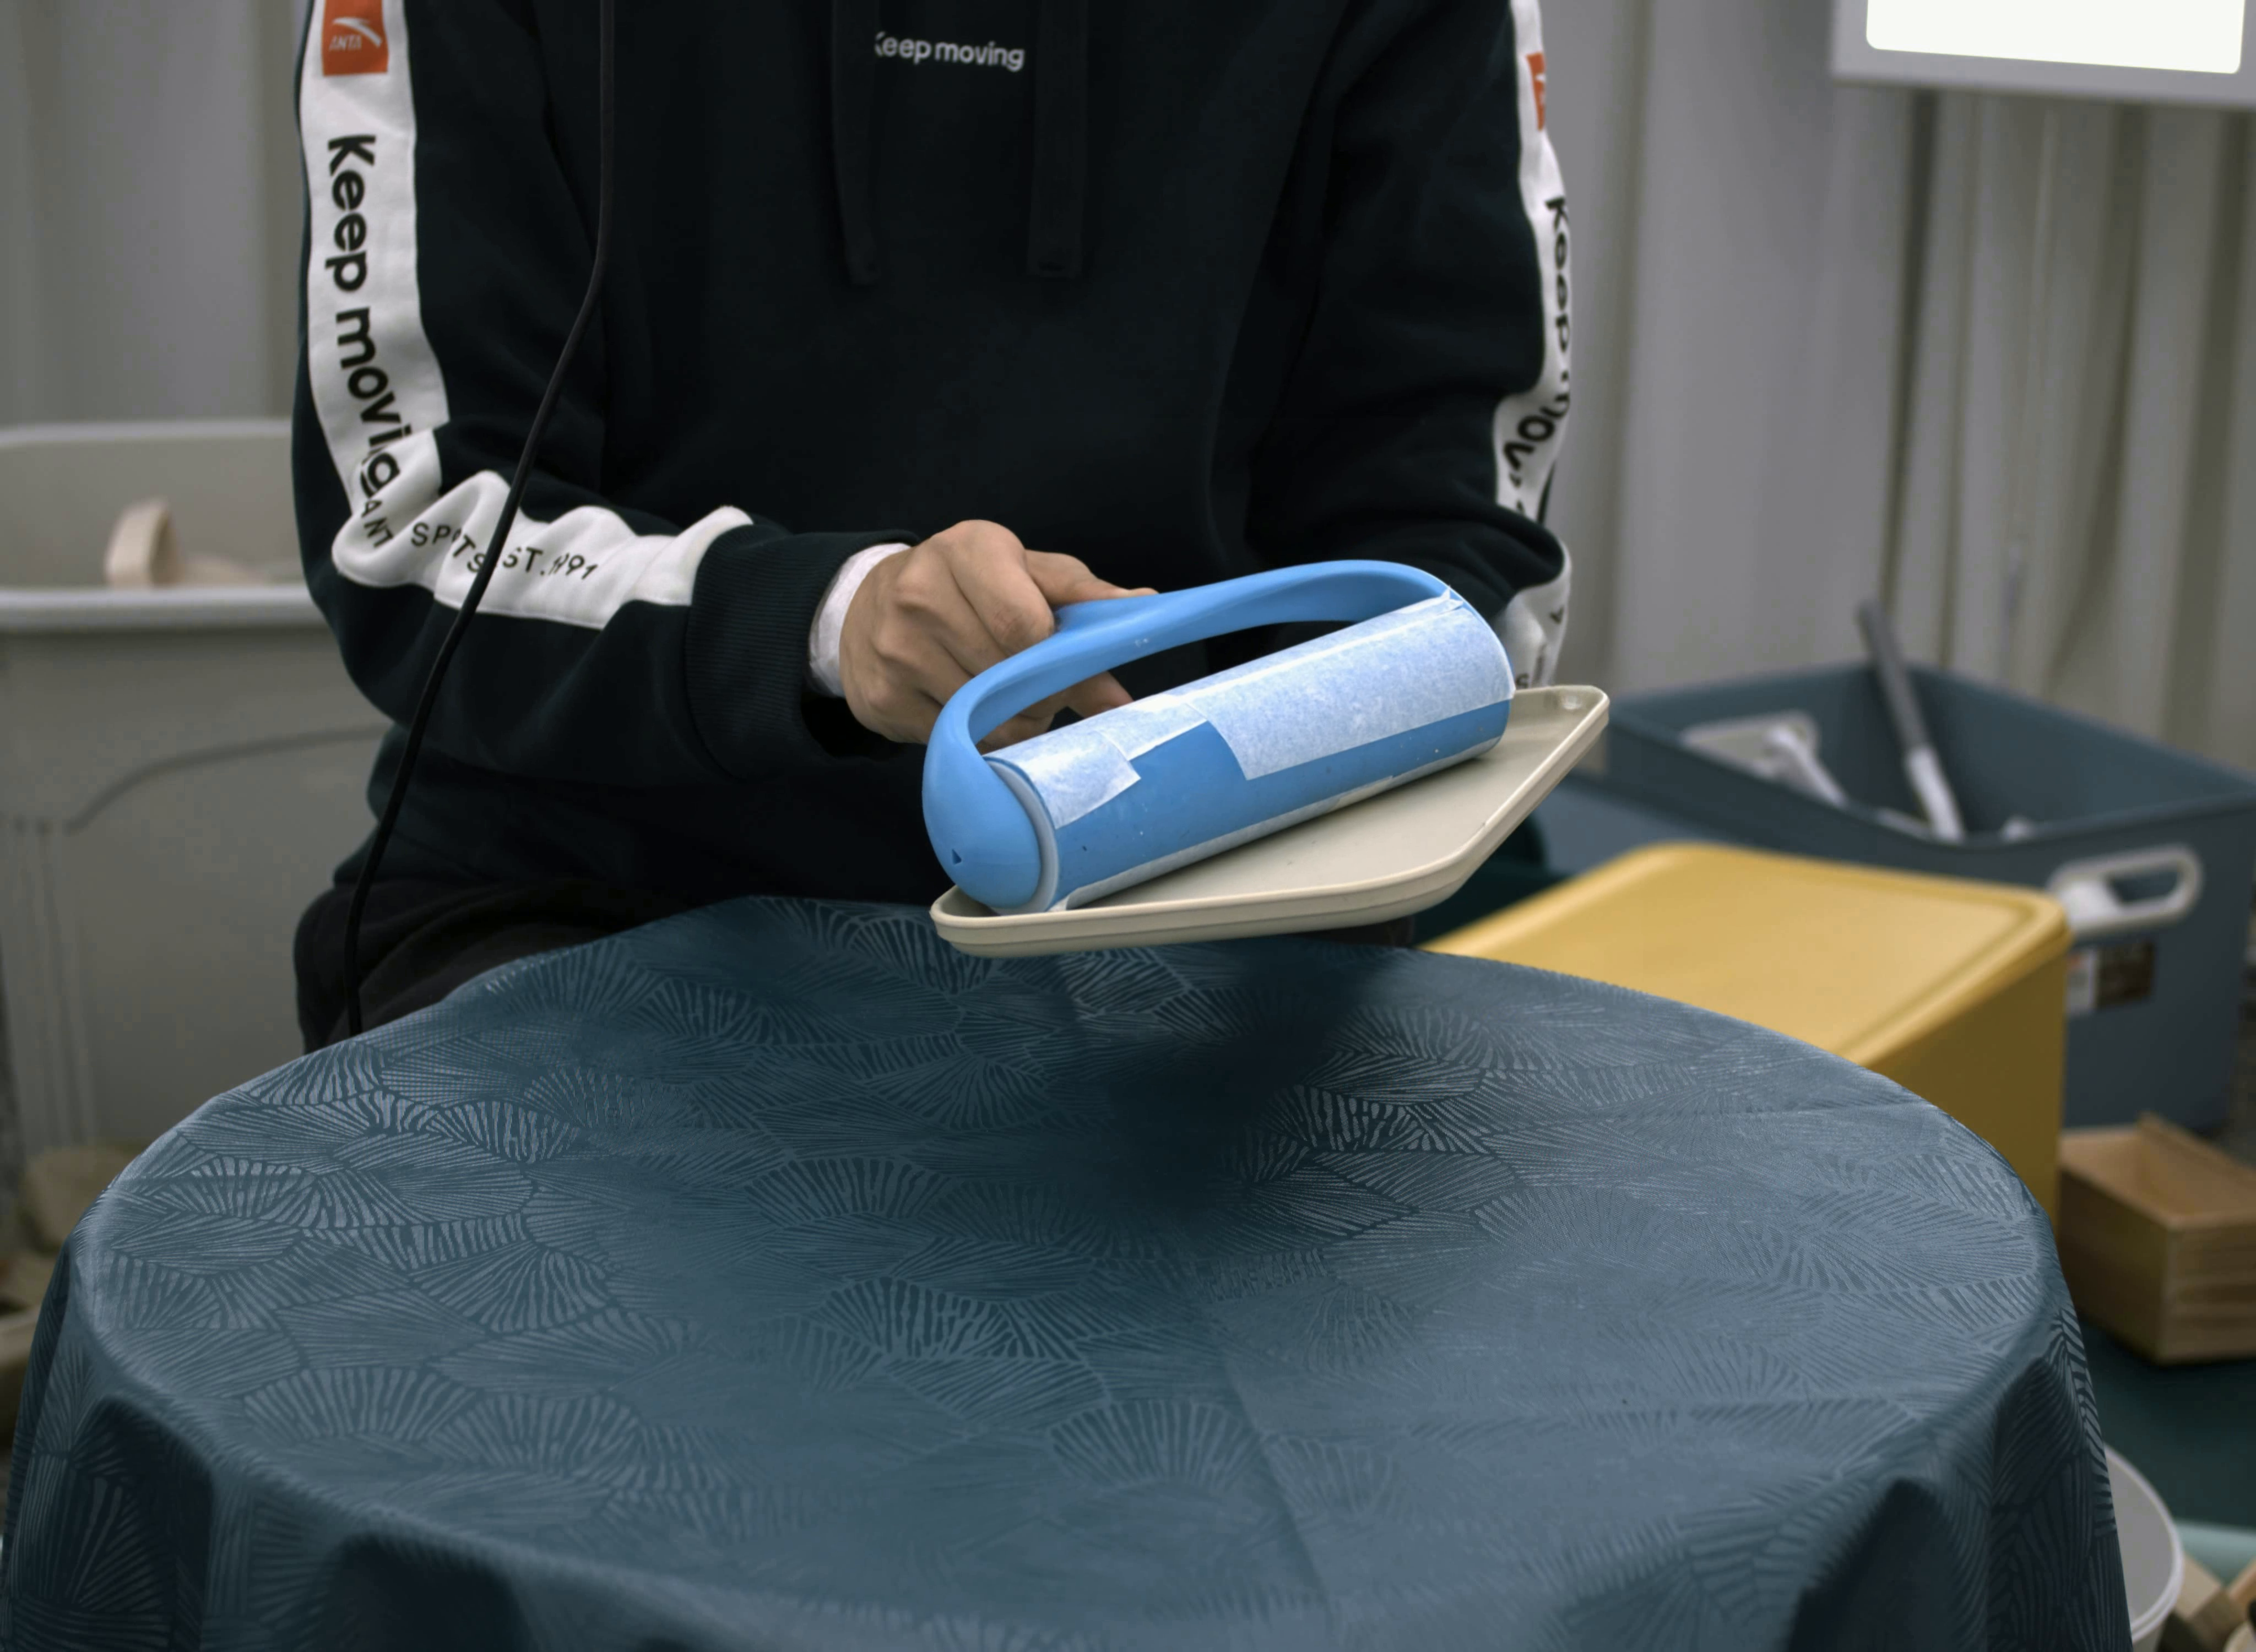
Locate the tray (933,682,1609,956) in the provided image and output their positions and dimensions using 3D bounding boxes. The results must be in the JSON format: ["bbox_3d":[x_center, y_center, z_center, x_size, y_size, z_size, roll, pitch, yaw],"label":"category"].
[{"bbox_3d":[0.050,-0.003,1.647,0.170,0.017,0.240,-6,13,20],"label":"tray"}]

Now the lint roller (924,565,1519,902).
[{"bbox_3d":[-0.005,-0.039,1.687,0.229,0.068,0.178,-23,31,-39],"label":"lint roller"}]
